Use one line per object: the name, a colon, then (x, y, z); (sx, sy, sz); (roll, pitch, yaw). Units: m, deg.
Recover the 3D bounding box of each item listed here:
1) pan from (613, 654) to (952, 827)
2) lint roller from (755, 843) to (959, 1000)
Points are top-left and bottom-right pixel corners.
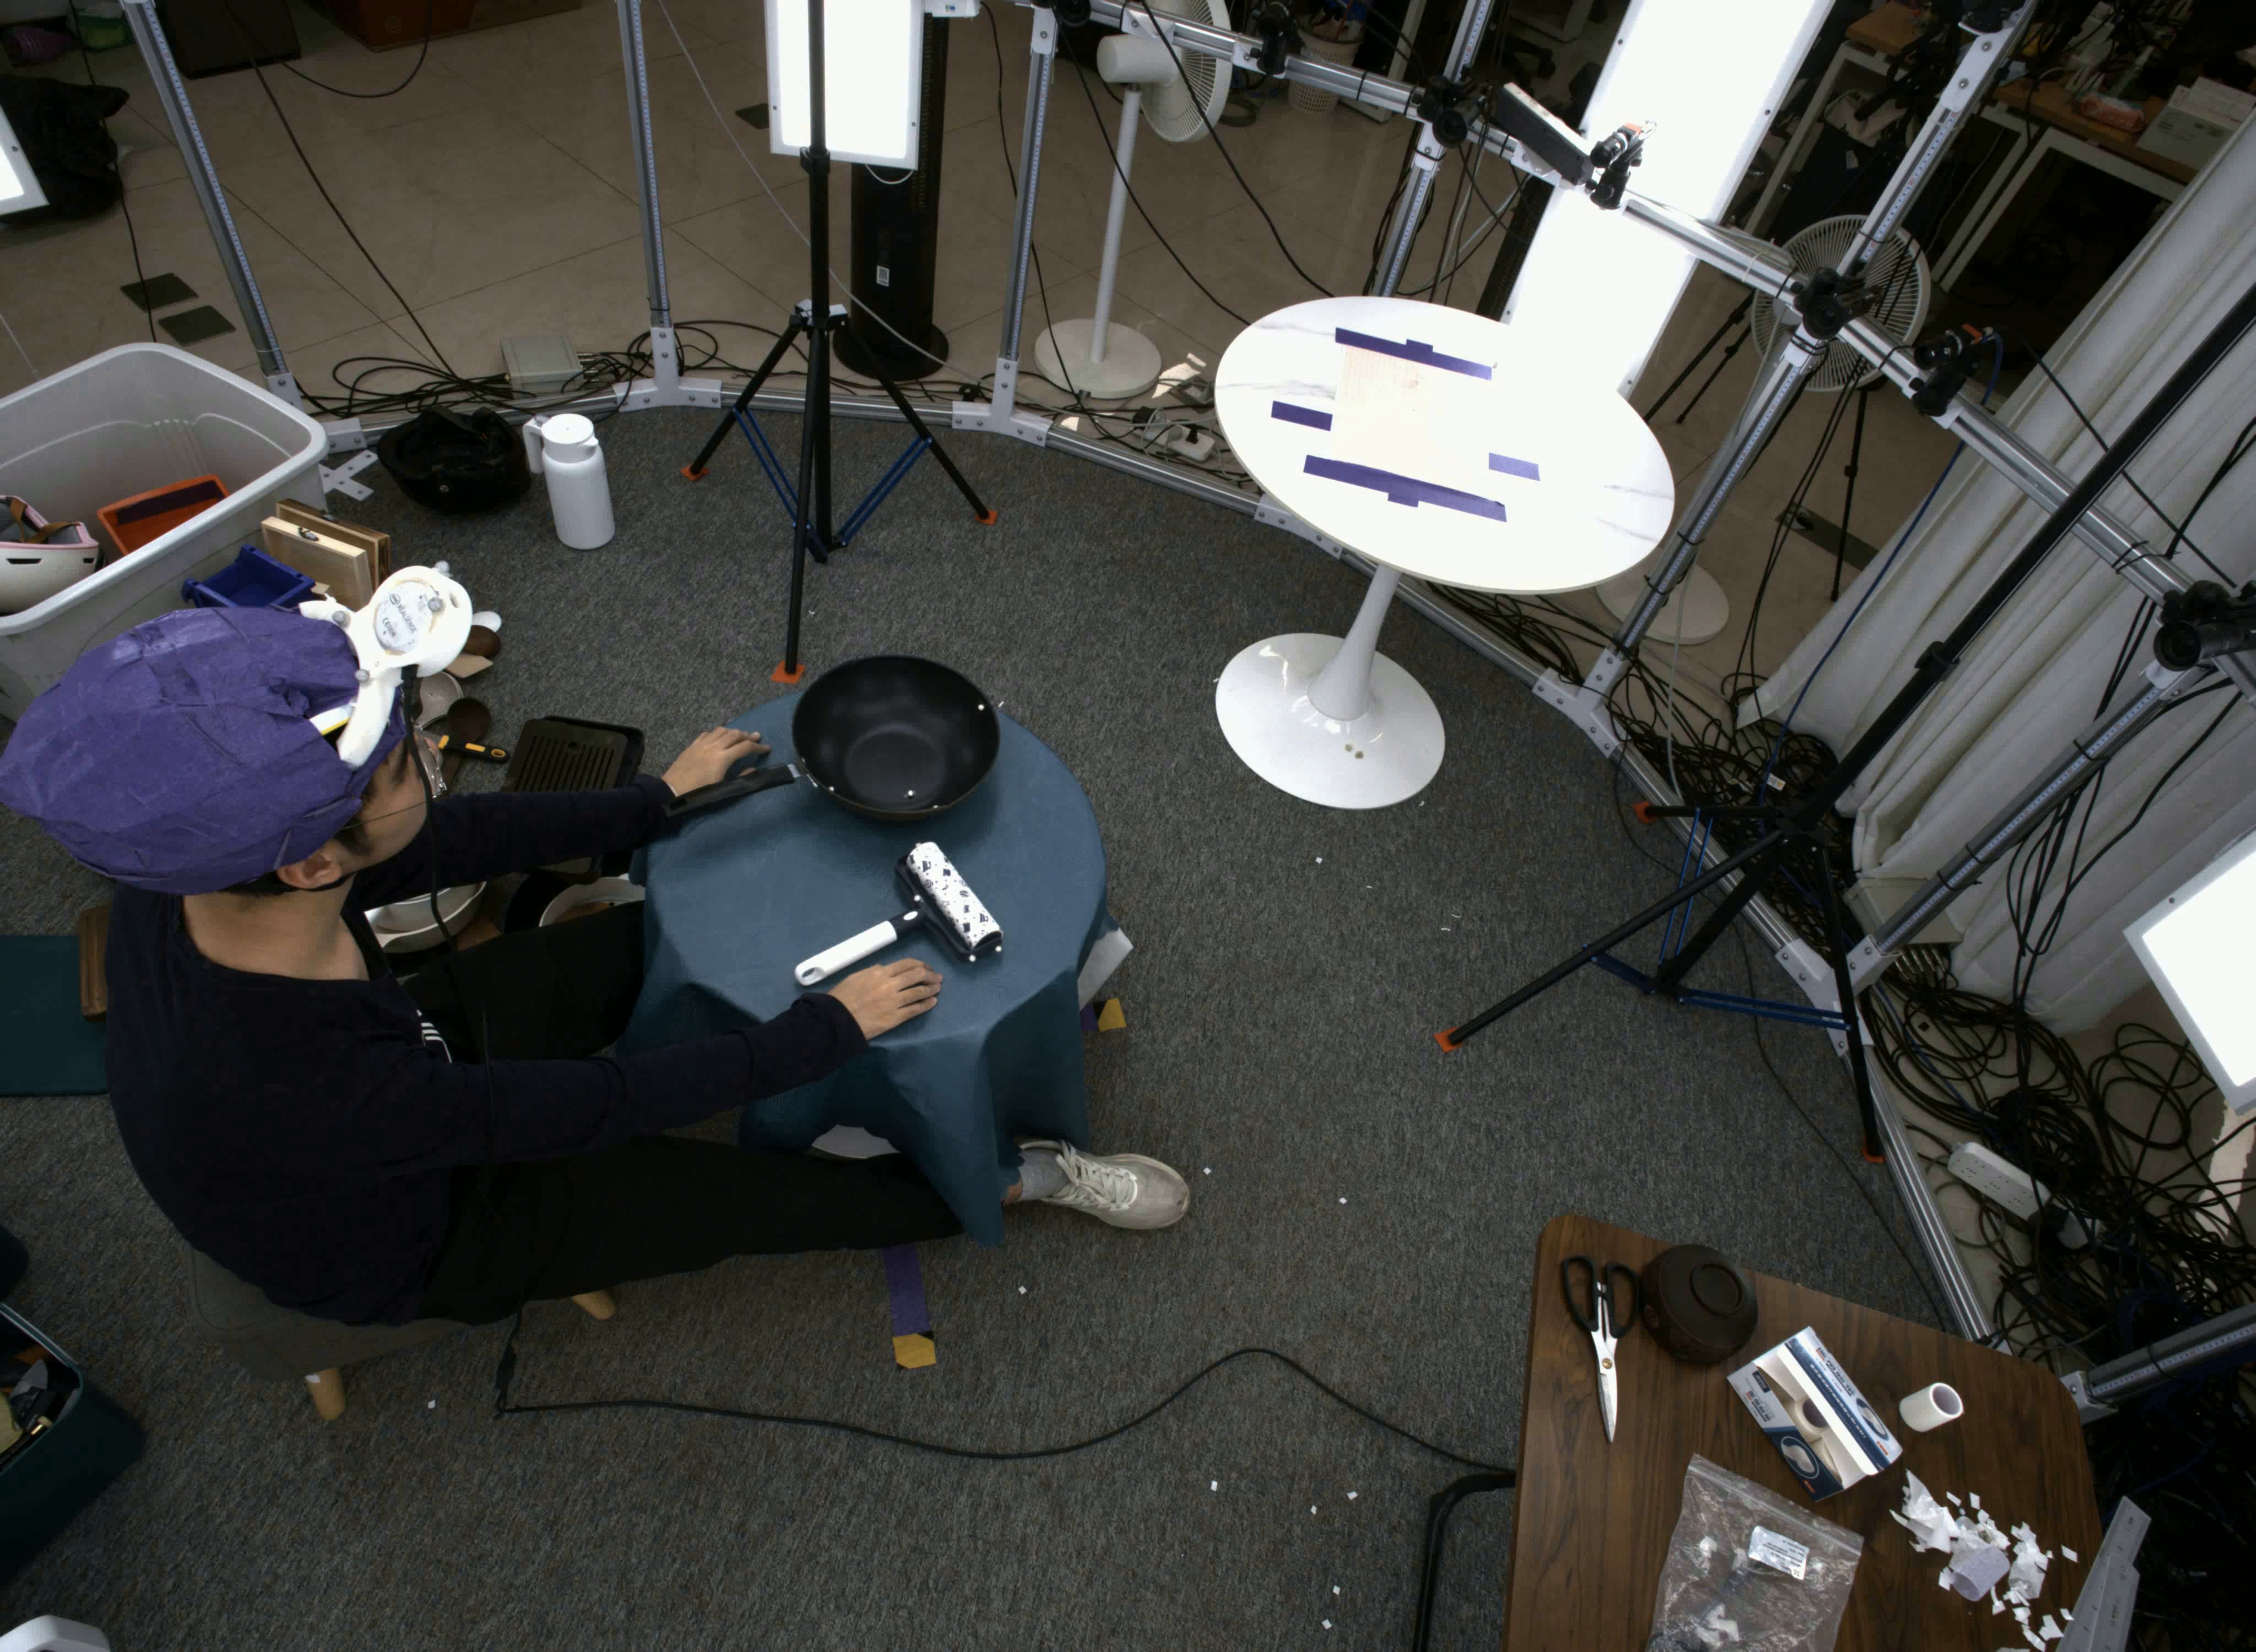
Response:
pan: (-0.455, -0.069, 1.725); (0.465, 0.088, 0.281); (-25, 64, -28)
lint roller: (-0.356, 0.139, 1.625); (0.247, 0.051, 0.172); (-32, 68, -27)
